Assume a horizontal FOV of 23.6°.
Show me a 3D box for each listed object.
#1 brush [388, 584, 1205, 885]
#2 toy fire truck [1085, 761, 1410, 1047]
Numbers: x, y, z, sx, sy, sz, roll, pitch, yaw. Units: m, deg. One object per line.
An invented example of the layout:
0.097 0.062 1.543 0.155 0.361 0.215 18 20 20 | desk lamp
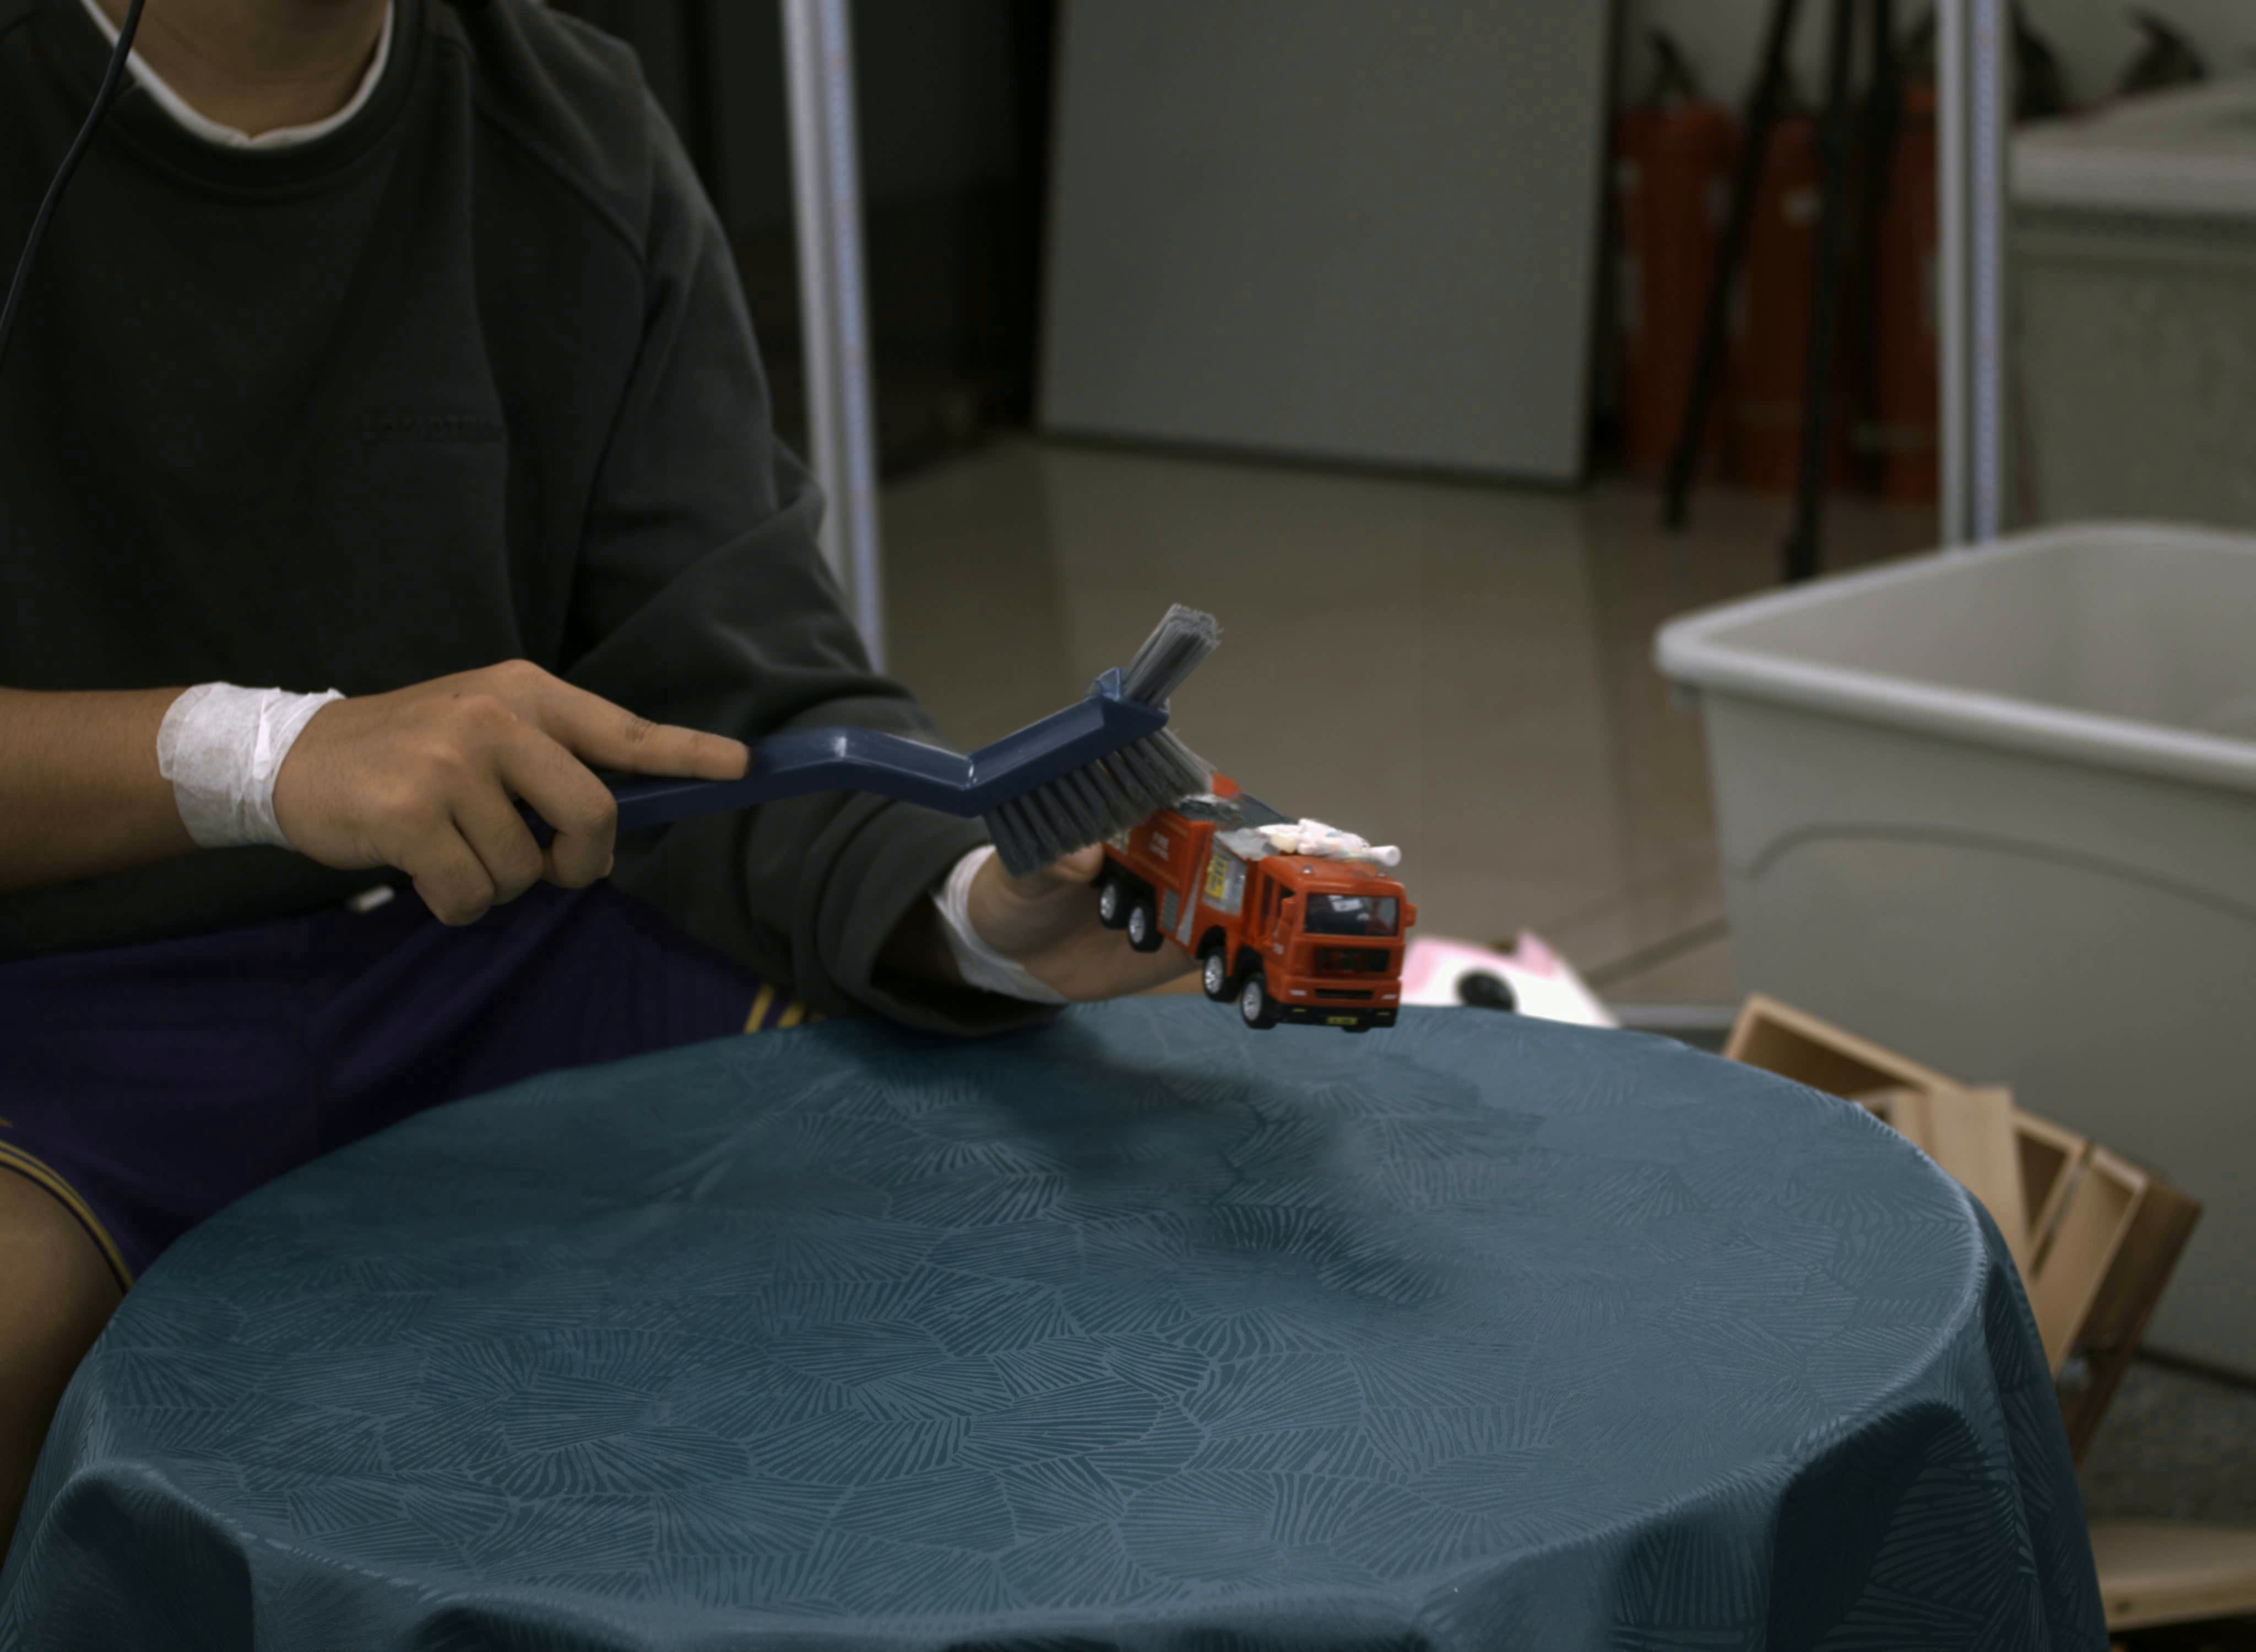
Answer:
-0.110 -0.026 1.755 0.270 0.096 0.034 -4 32 3 | brush
0.038 0.022 1.751 0.053 0.071 0.169 4 12 -24 | toy fire truck
